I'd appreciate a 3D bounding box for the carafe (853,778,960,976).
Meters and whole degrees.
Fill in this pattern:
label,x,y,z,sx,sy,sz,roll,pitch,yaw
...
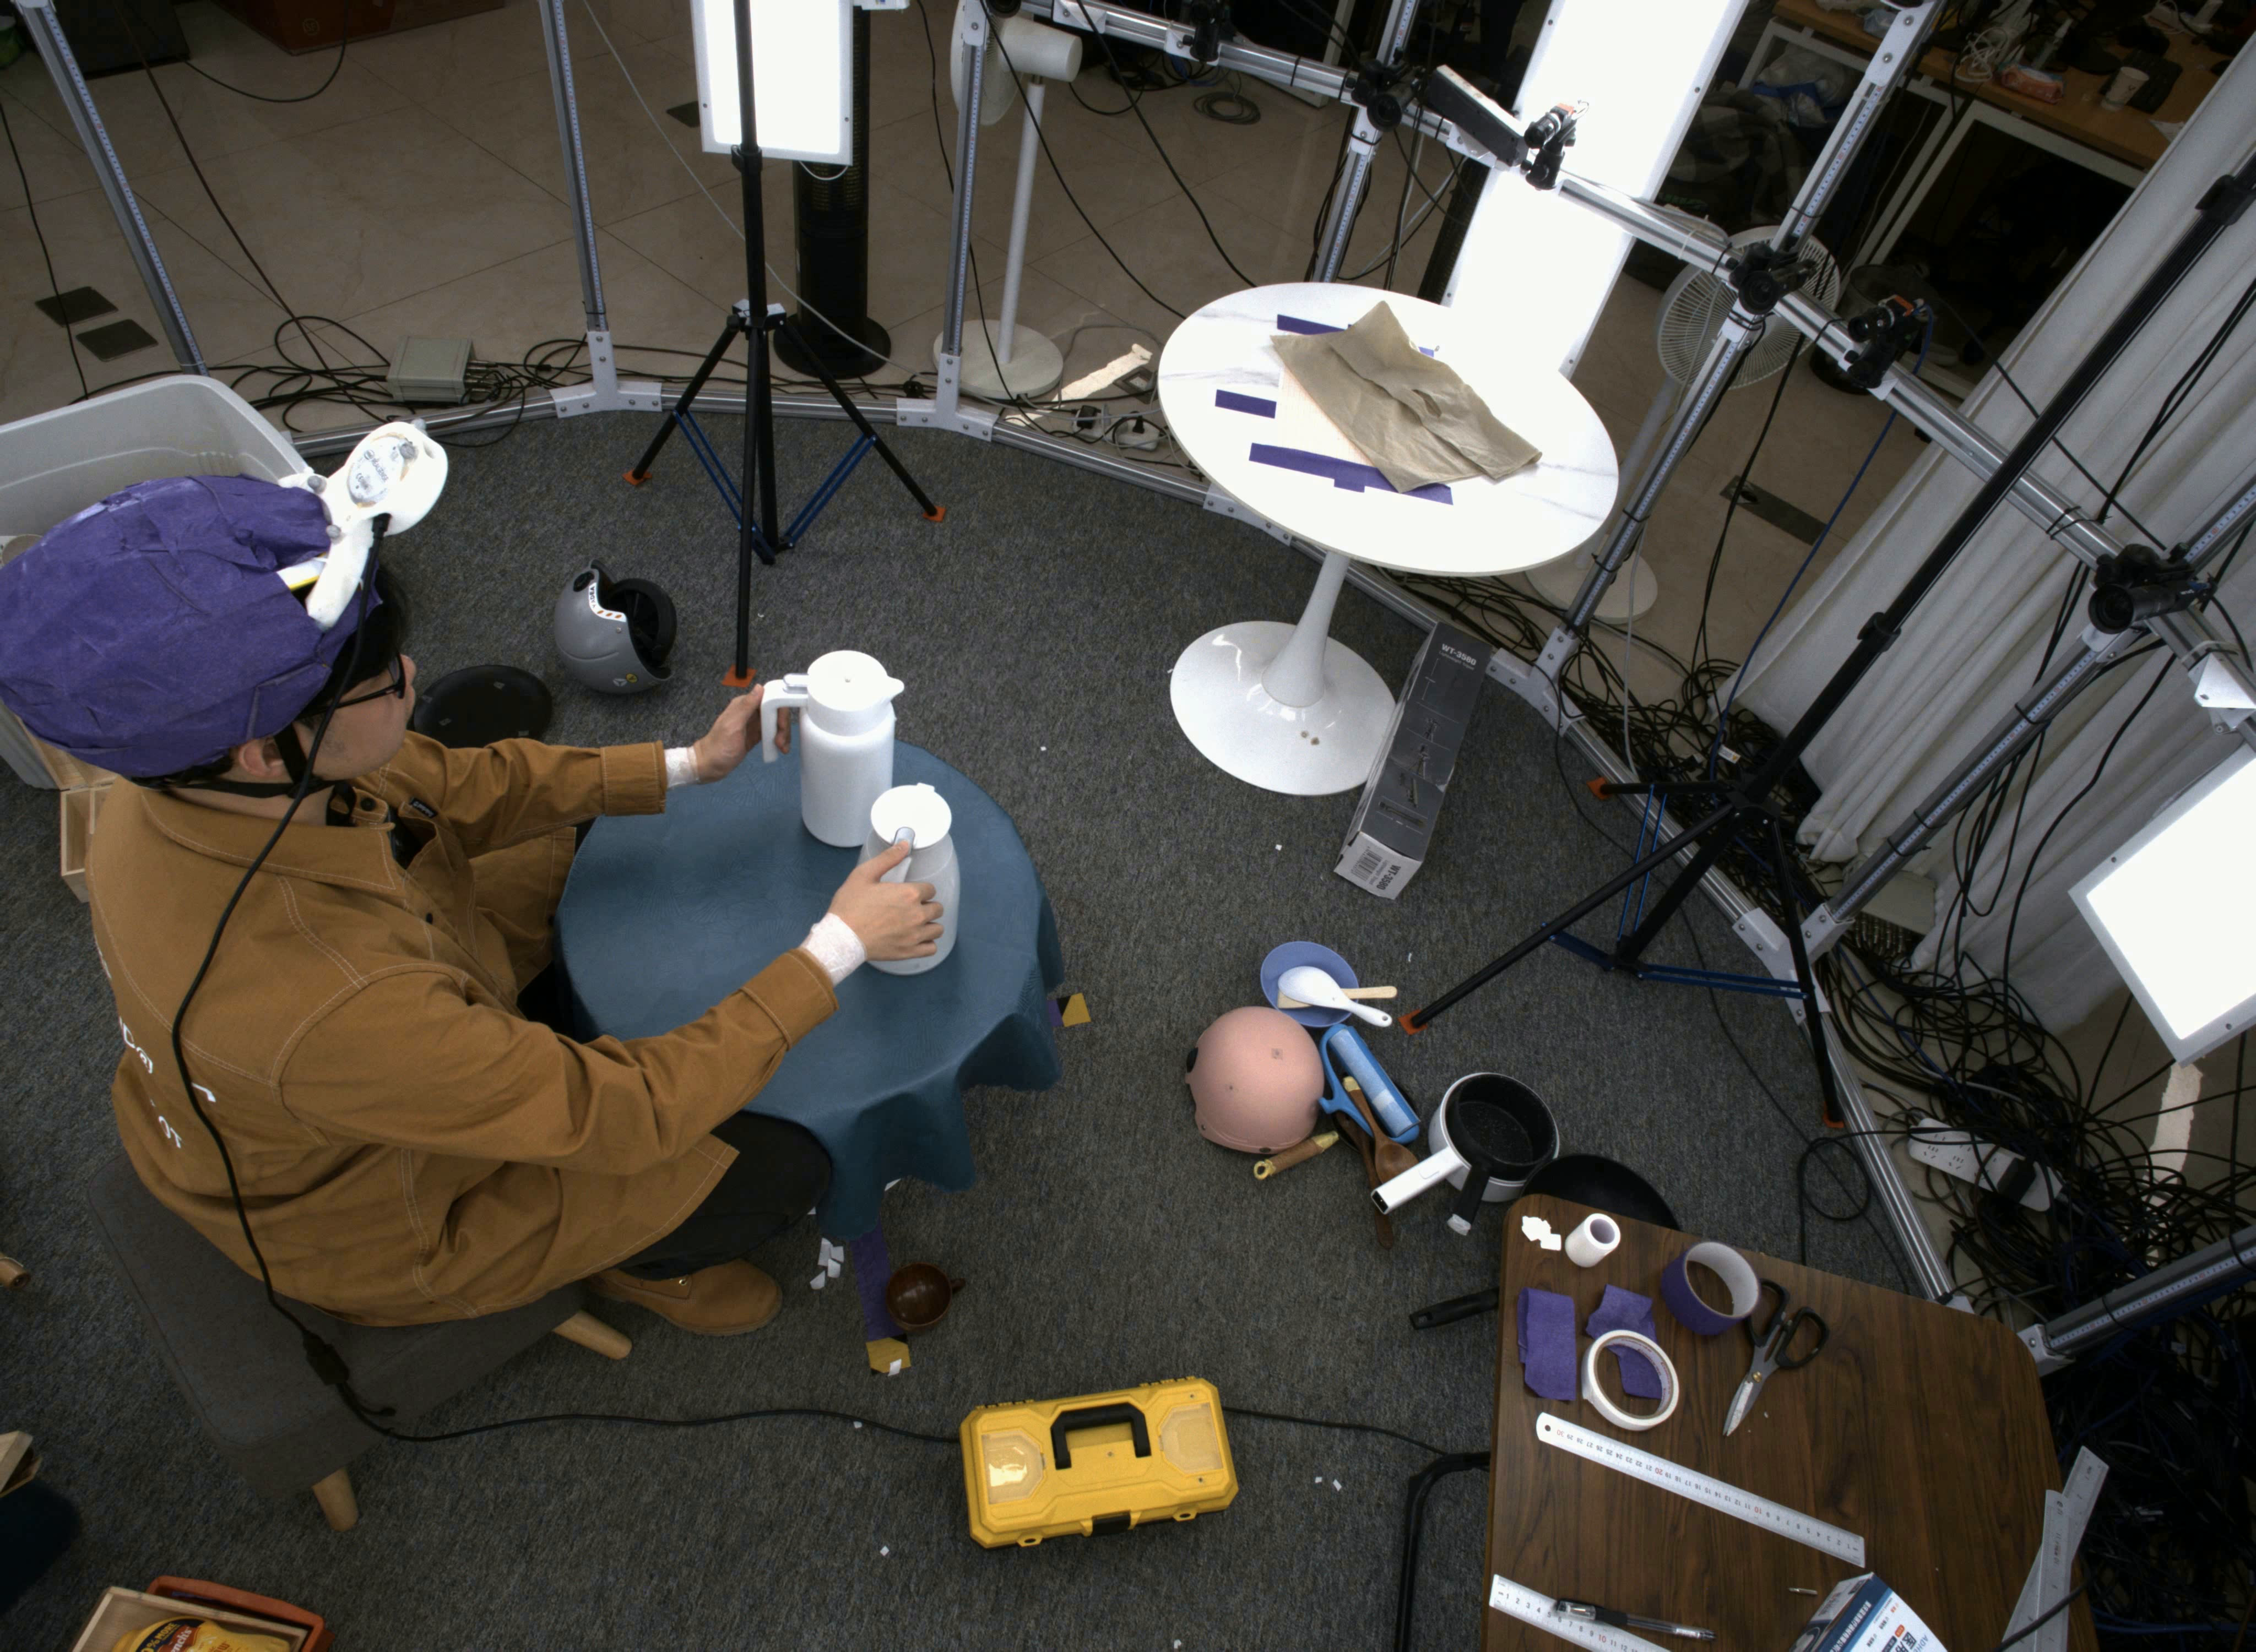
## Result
label,x,y,z,sx,sy,sz,roll,pitch,yaw
carafe,-0.268,0.071,1.548,0.131,0.254,0.165,13,52,-1

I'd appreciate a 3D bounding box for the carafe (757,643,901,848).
label,x,y,z,sx,sy,sz,roll,pitch,yaw
carafe,-0.375,-0.097,1.634,0.173,0.274,0.121,-2,55,-14
